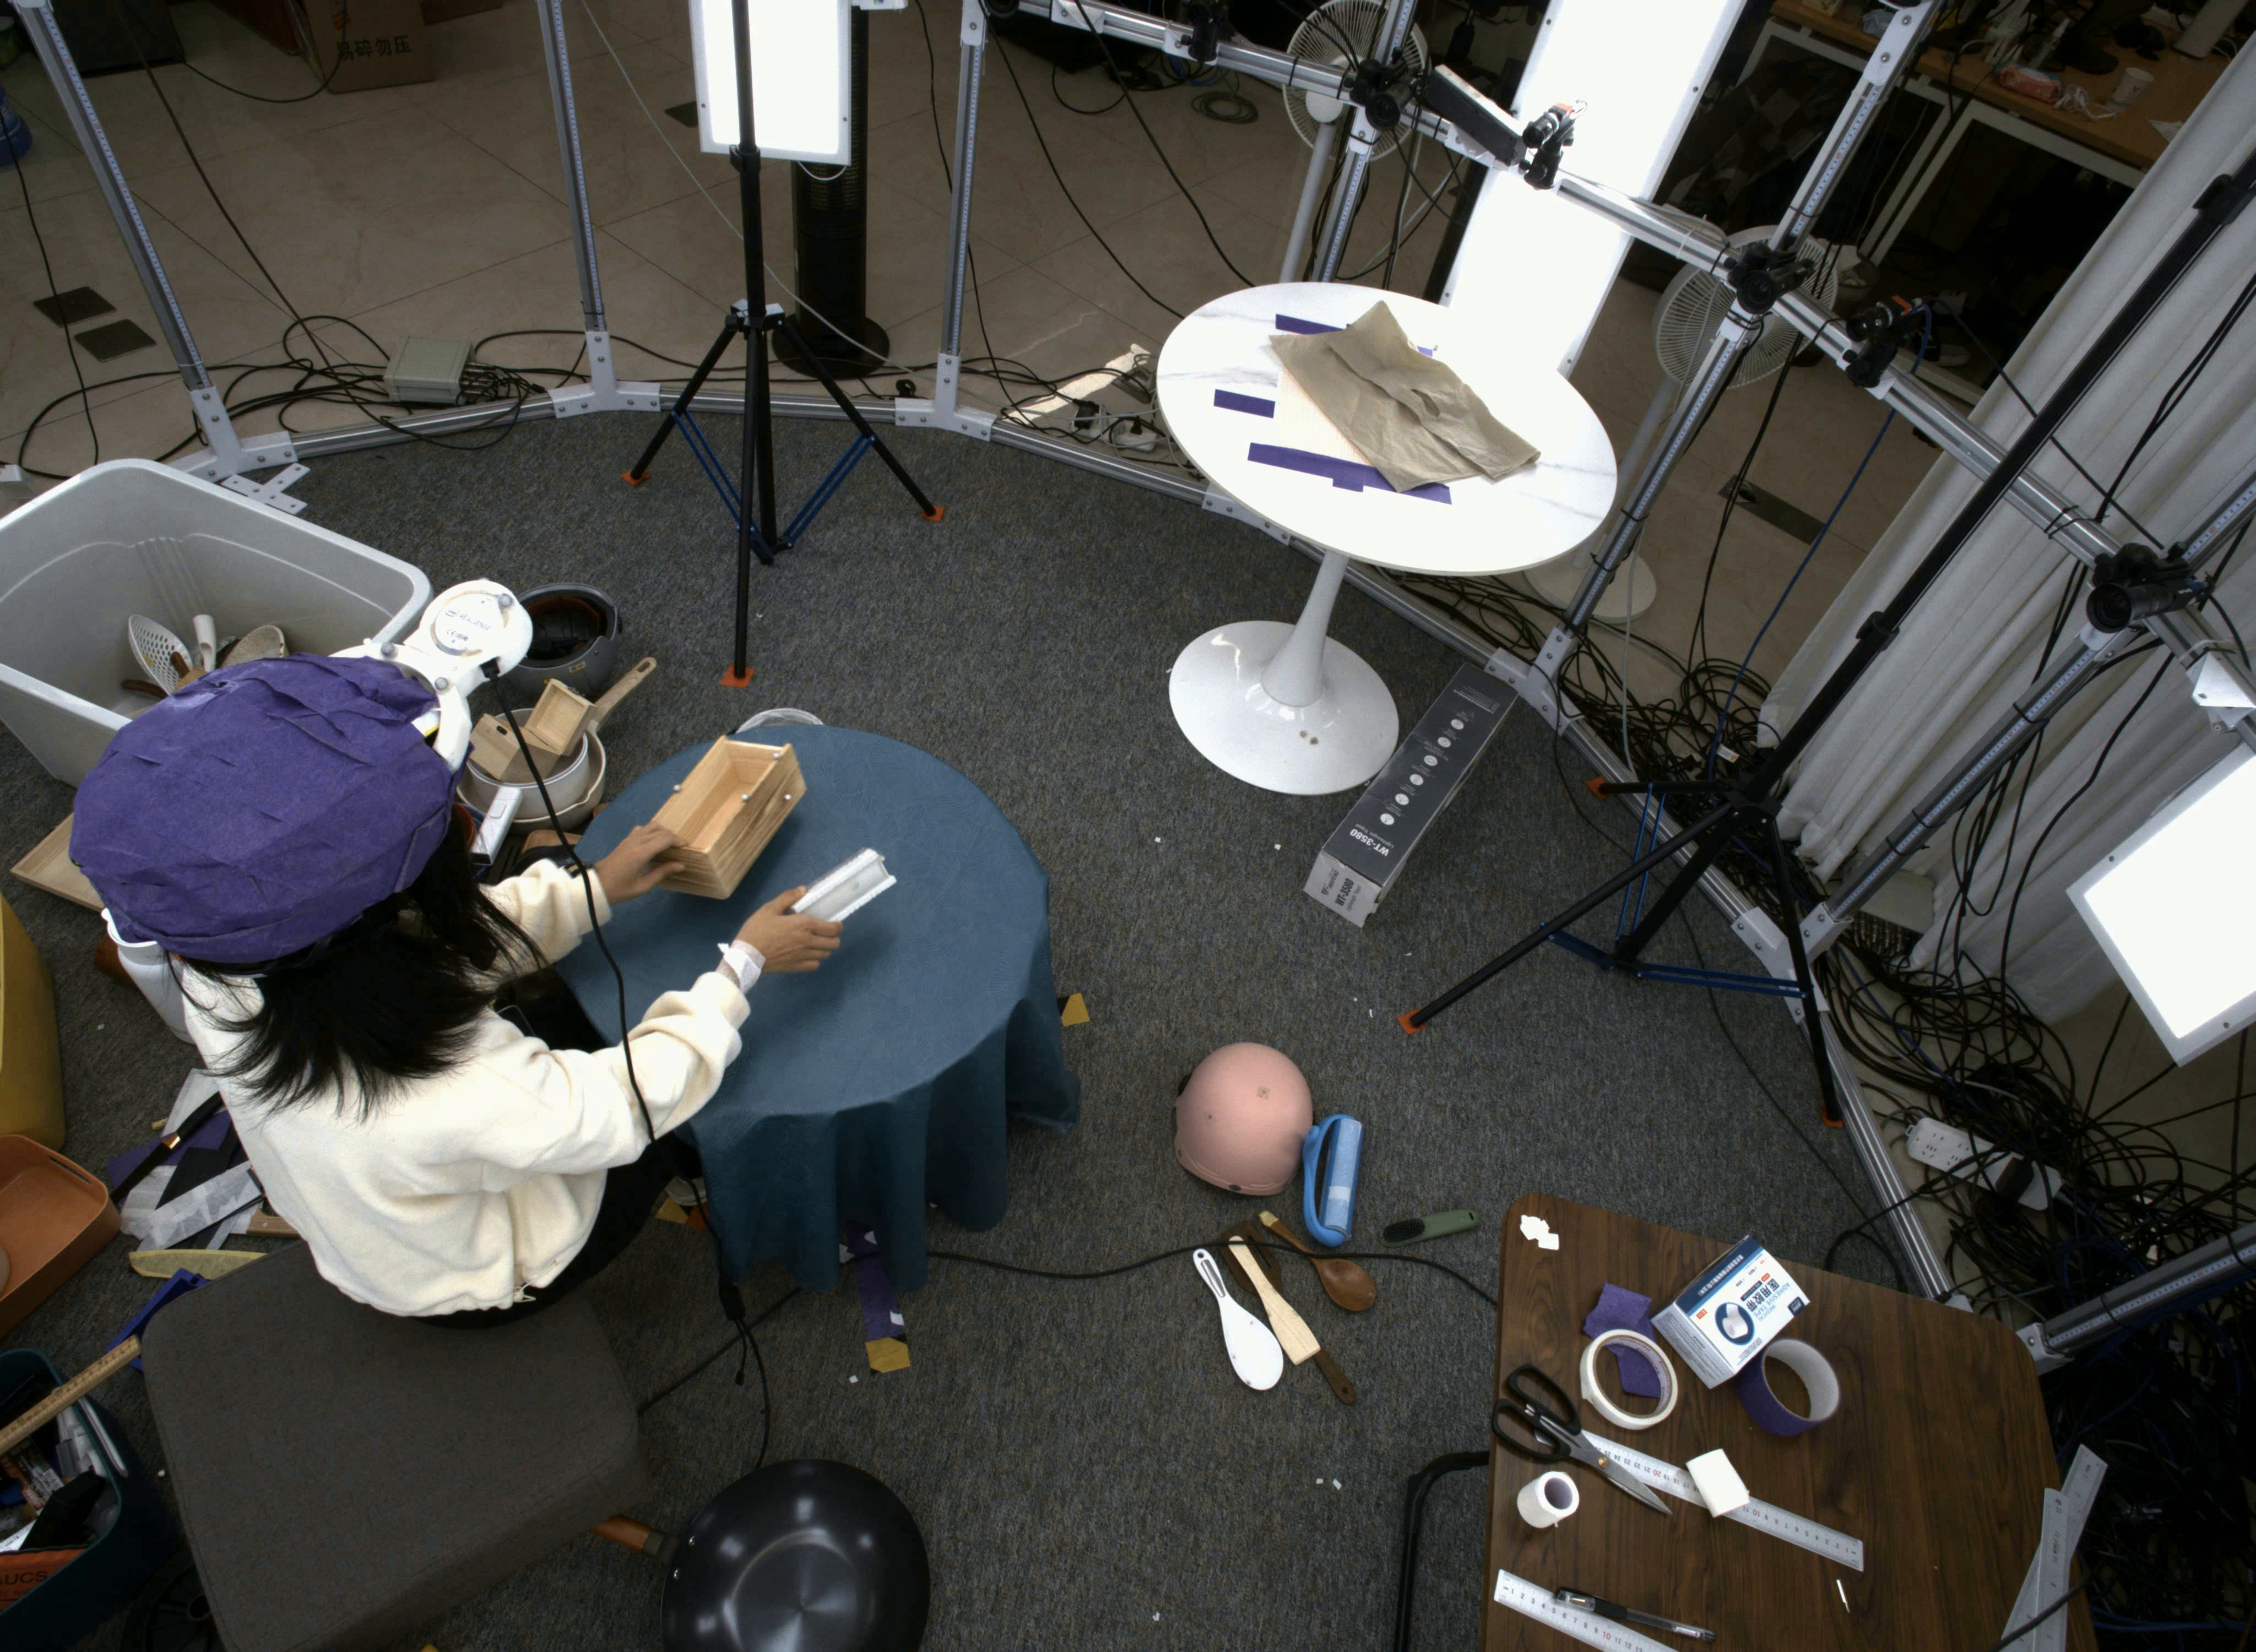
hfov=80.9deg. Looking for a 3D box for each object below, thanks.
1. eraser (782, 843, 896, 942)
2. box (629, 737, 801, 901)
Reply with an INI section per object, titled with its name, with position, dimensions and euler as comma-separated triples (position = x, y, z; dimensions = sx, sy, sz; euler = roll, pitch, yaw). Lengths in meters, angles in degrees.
[eraser]
position = -0.349, 0.077, 1.565
dimensions = 0.045, 0.051, 0.134
euler = 7, 39, 45
[box]
position = -0.511, -0.014, 1.610
dimensions = 0.105, 0.083, 0.209
euler = 6, 43, 16
